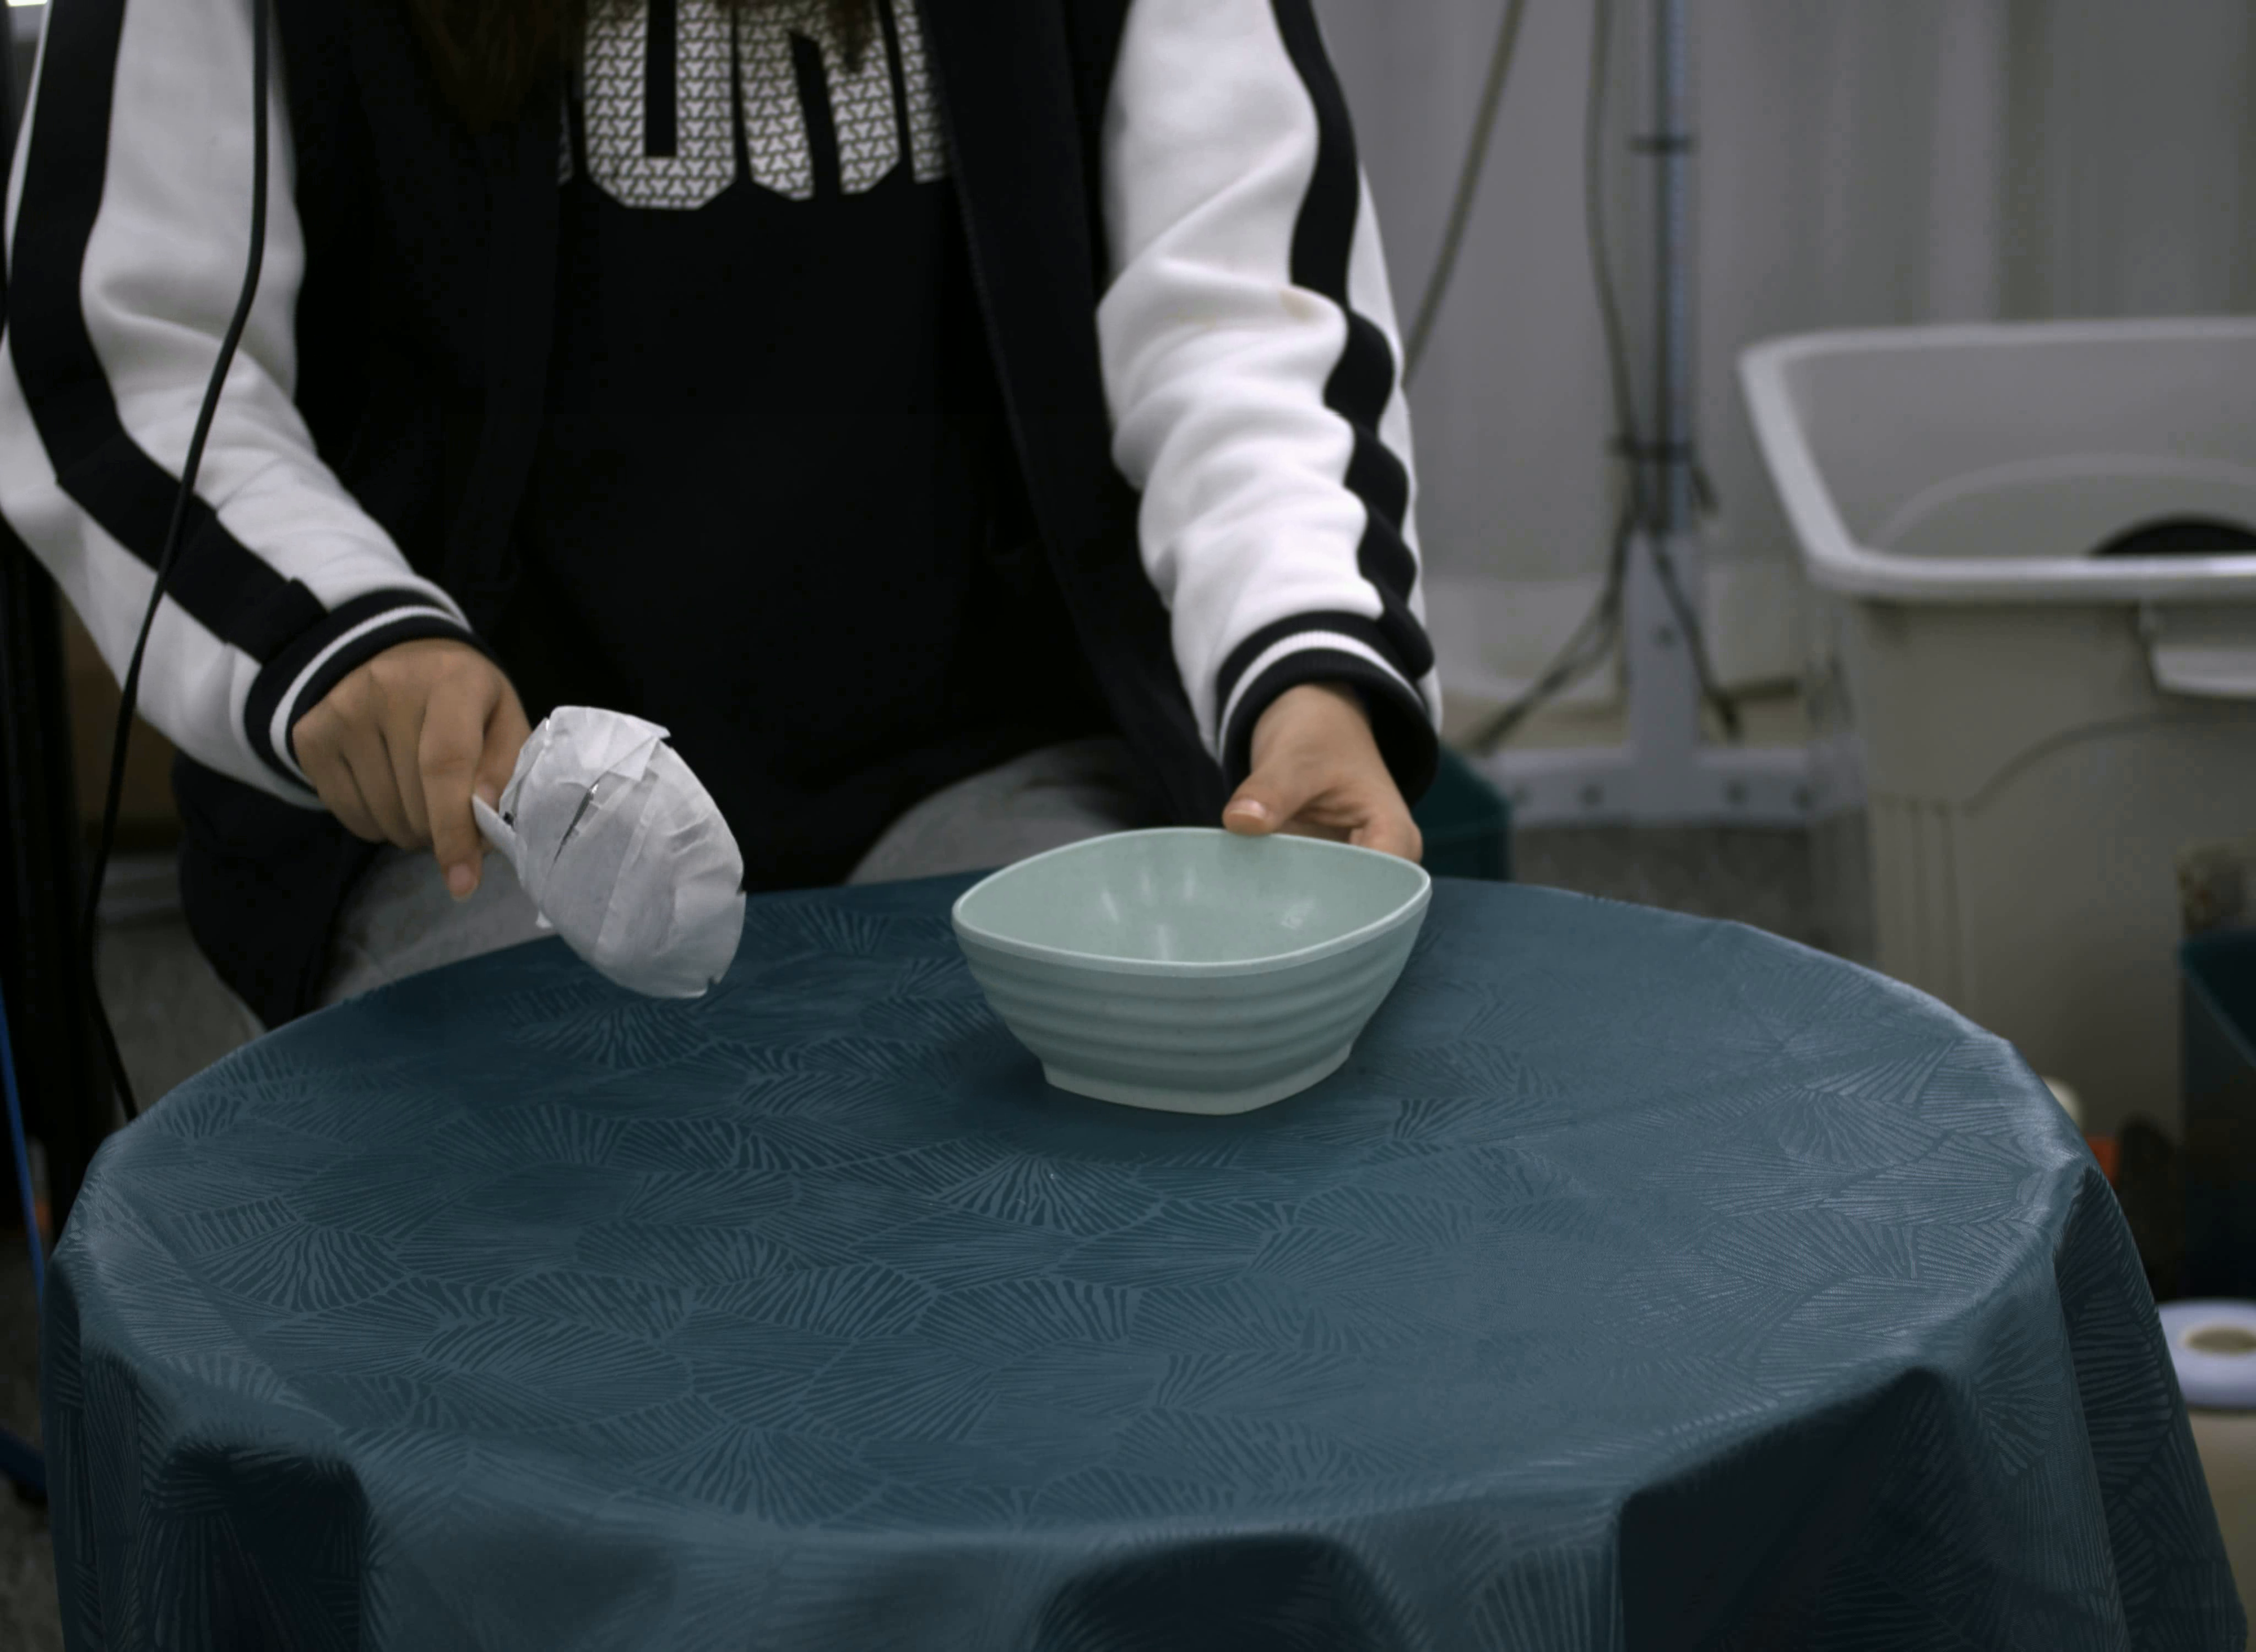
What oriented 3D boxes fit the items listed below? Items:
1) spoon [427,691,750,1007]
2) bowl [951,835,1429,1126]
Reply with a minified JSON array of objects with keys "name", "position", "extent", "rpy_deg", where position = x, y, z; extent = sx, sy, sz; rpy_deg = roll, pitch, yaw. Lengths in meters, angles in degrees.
[{"name":"spoon","position":[-0.173,-0.002,1.681],"extent":[0.058,0.101,0.281],"rpy_deg":[-15,10,-13]},{"name":"bowl","position":[0.020,0.051,1.660],"extent":[0.150,0.058,0.152],"rpy_deg":[-3,16,-1]}]
